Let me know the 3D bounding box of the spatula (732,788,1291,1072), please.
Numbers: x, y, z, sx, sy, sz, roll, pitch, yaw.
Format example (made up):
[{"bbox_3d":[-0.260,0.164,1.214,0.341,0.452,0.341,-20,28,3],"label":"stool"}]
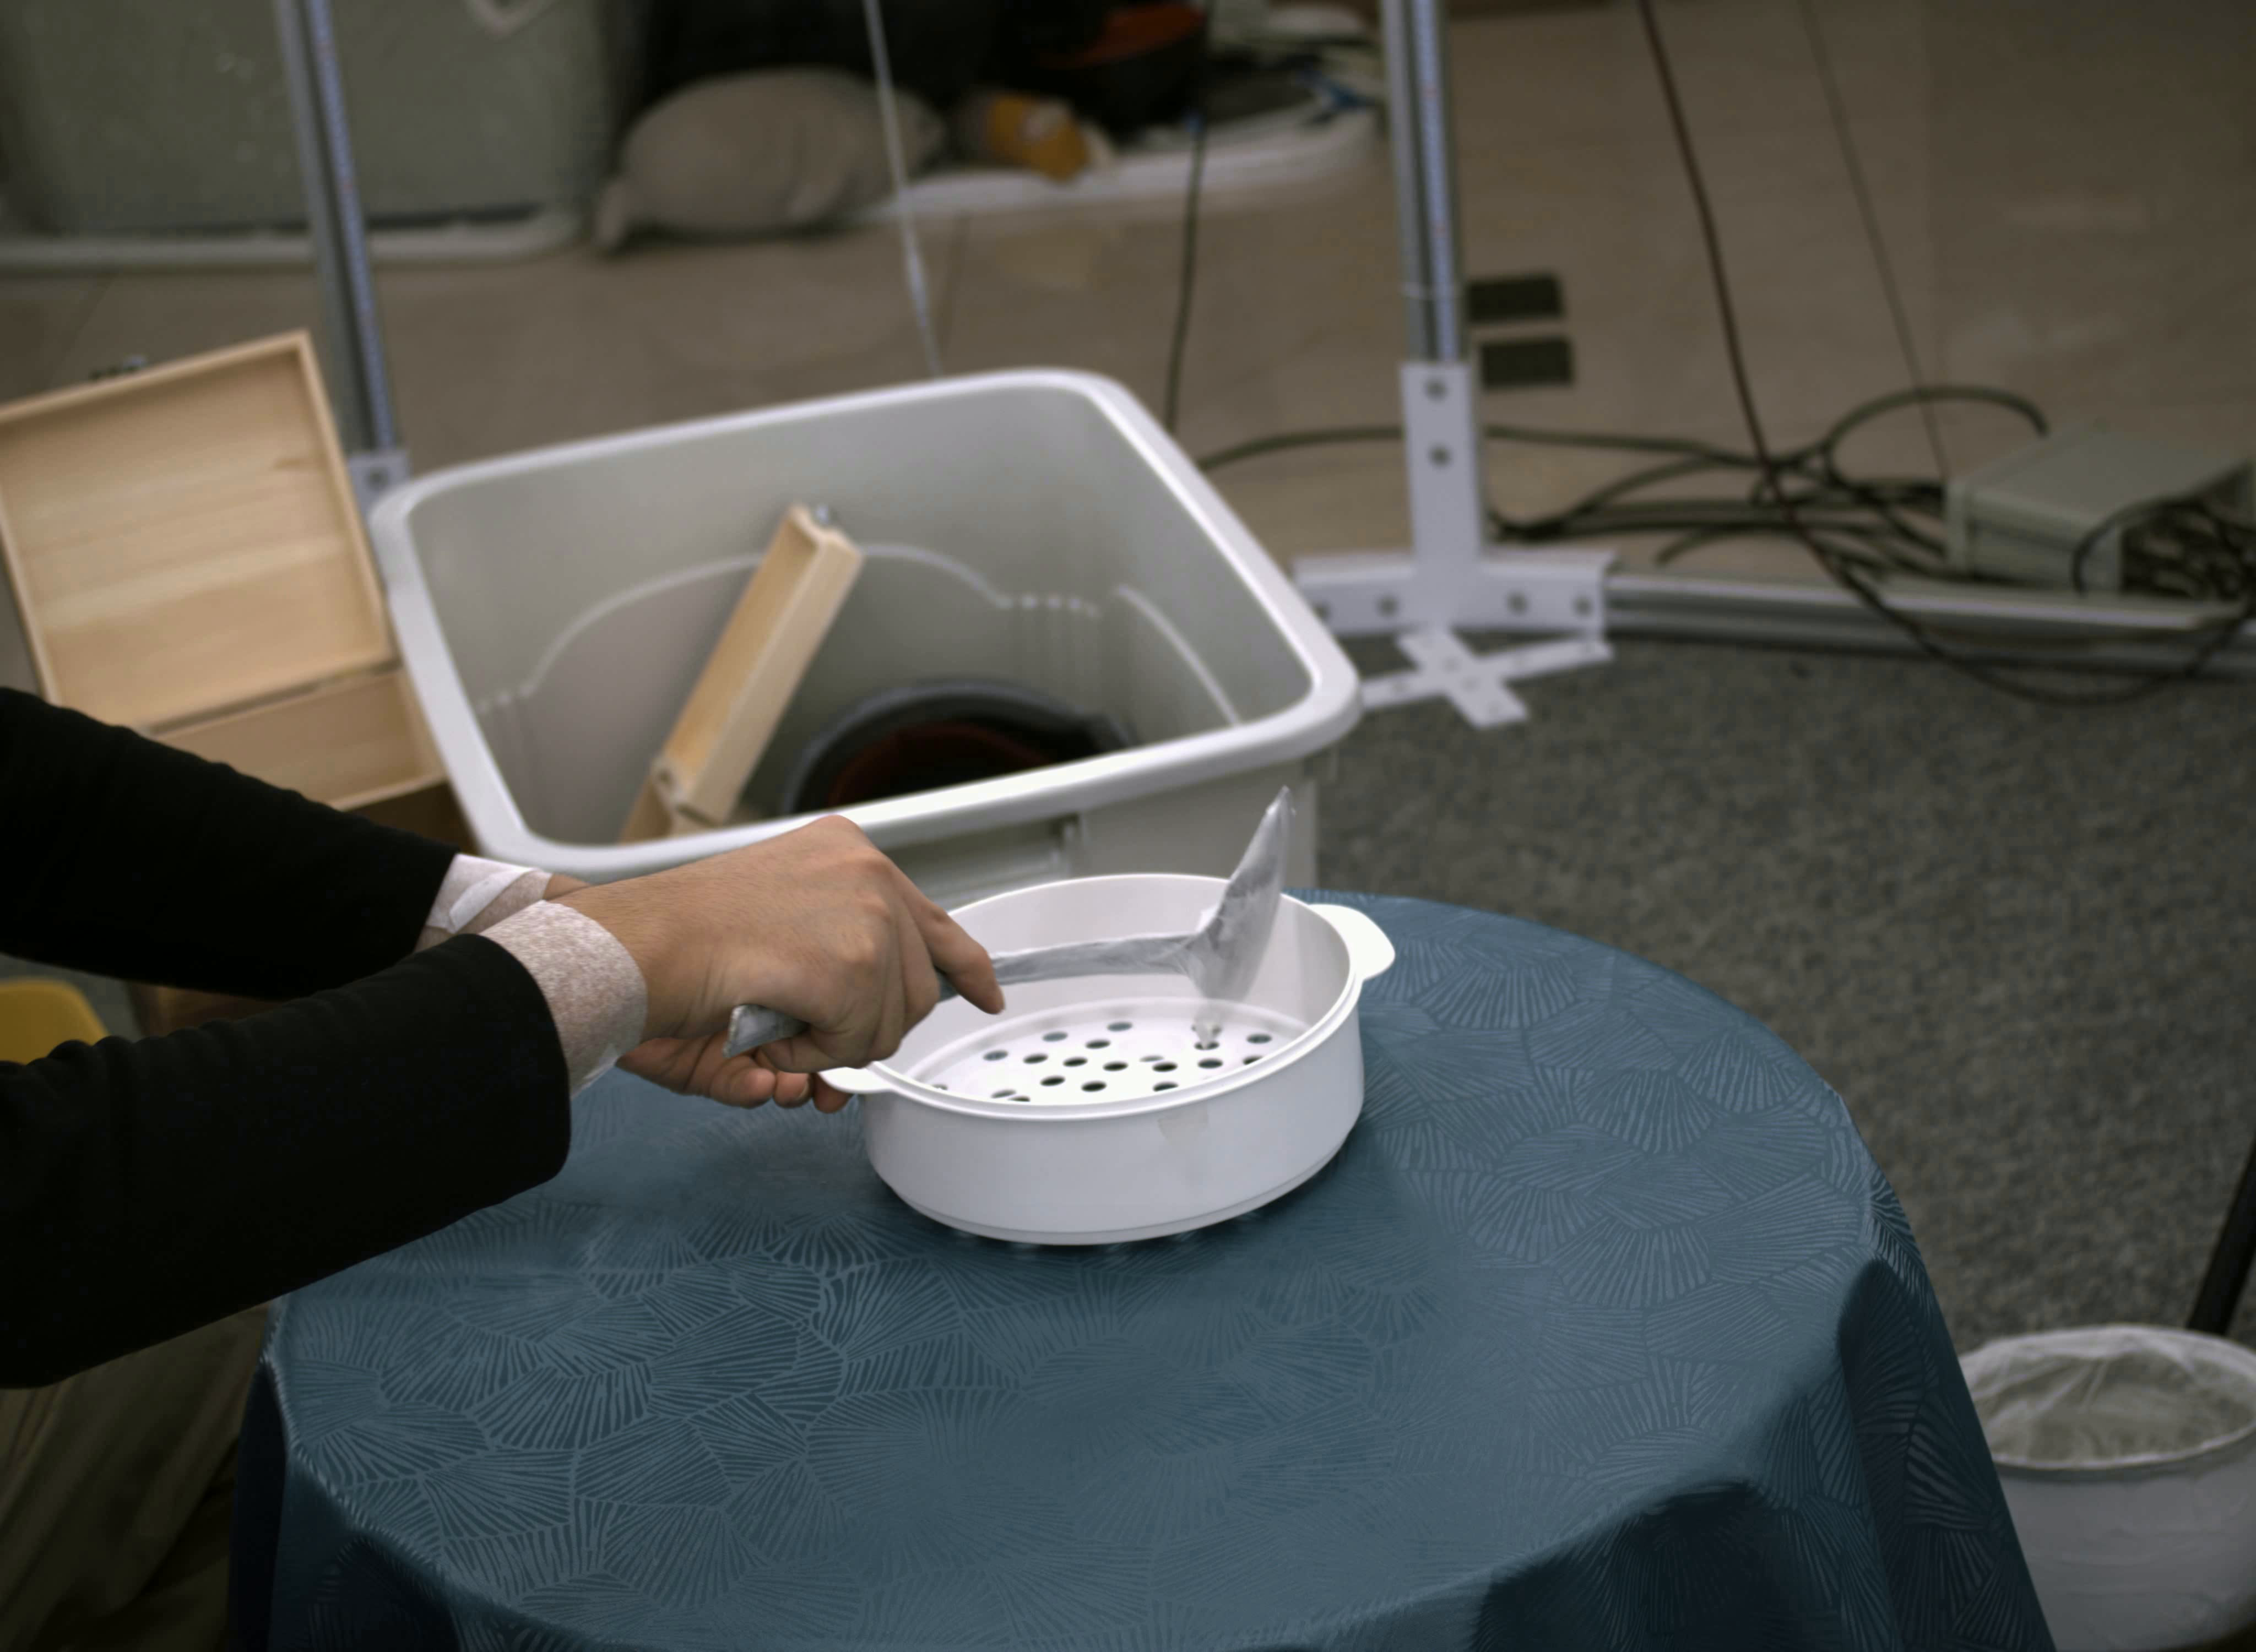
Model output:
[{"bbox_3d":[-0.037,0.049,2.047,0.044,0.100,0.364,27,20,32],"label":"spatula"}]

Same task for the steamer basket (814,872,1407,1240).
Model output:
[{"bbox_3d":[-0.003,0.089,2.173,0.230,0.070,0.199,-13,25,-12],"label":"steamer basket"}]
